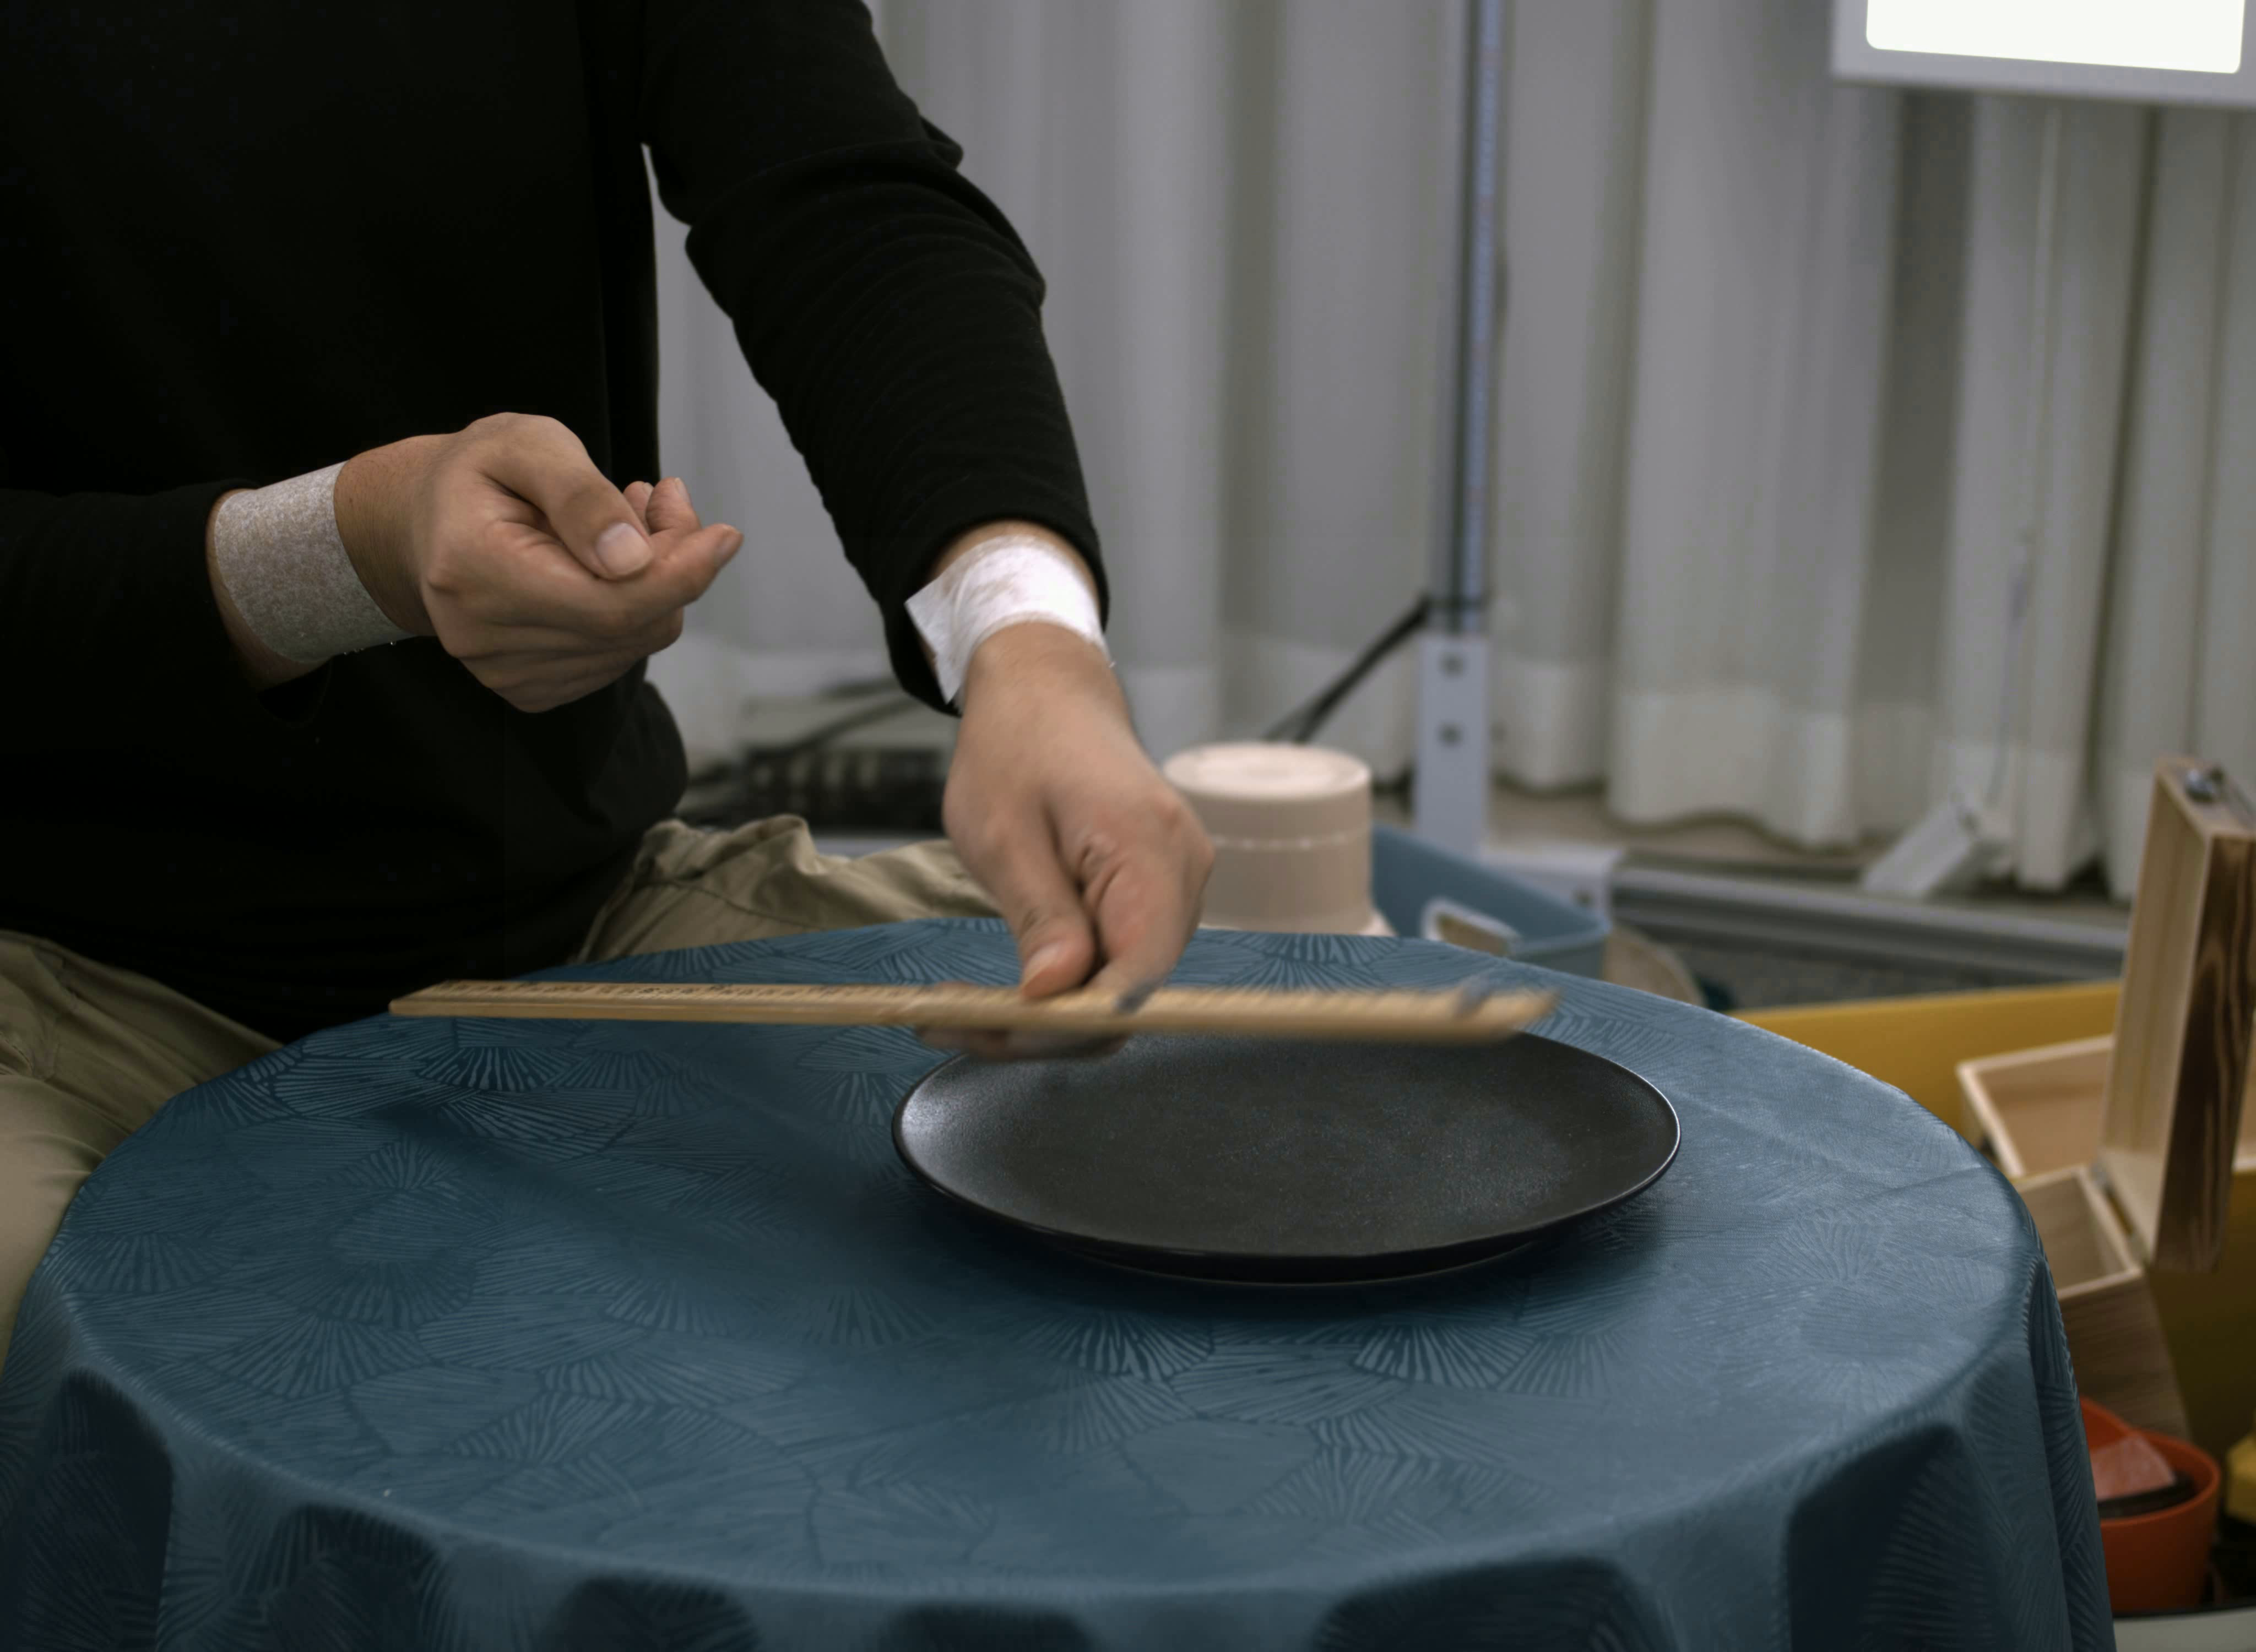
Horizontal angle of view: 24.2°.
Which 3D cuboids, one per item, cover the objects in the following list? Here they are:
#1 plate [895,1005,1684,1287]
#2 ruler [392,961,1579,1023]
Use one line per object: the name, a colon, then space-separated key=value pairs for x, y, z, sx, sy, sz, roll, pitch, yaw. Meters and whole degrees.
plate: x=0.050 y=0.100 z=1.623 sx=0.243 sy=0.023 sz=0.243 roll=0 pitch=15 yaw=0
ruler: x=-0.060 y=0.048 z=1.513 sx=0.027 sy=0.006 sz=0.495 roll=-19 pitch=10 yaw=-42
